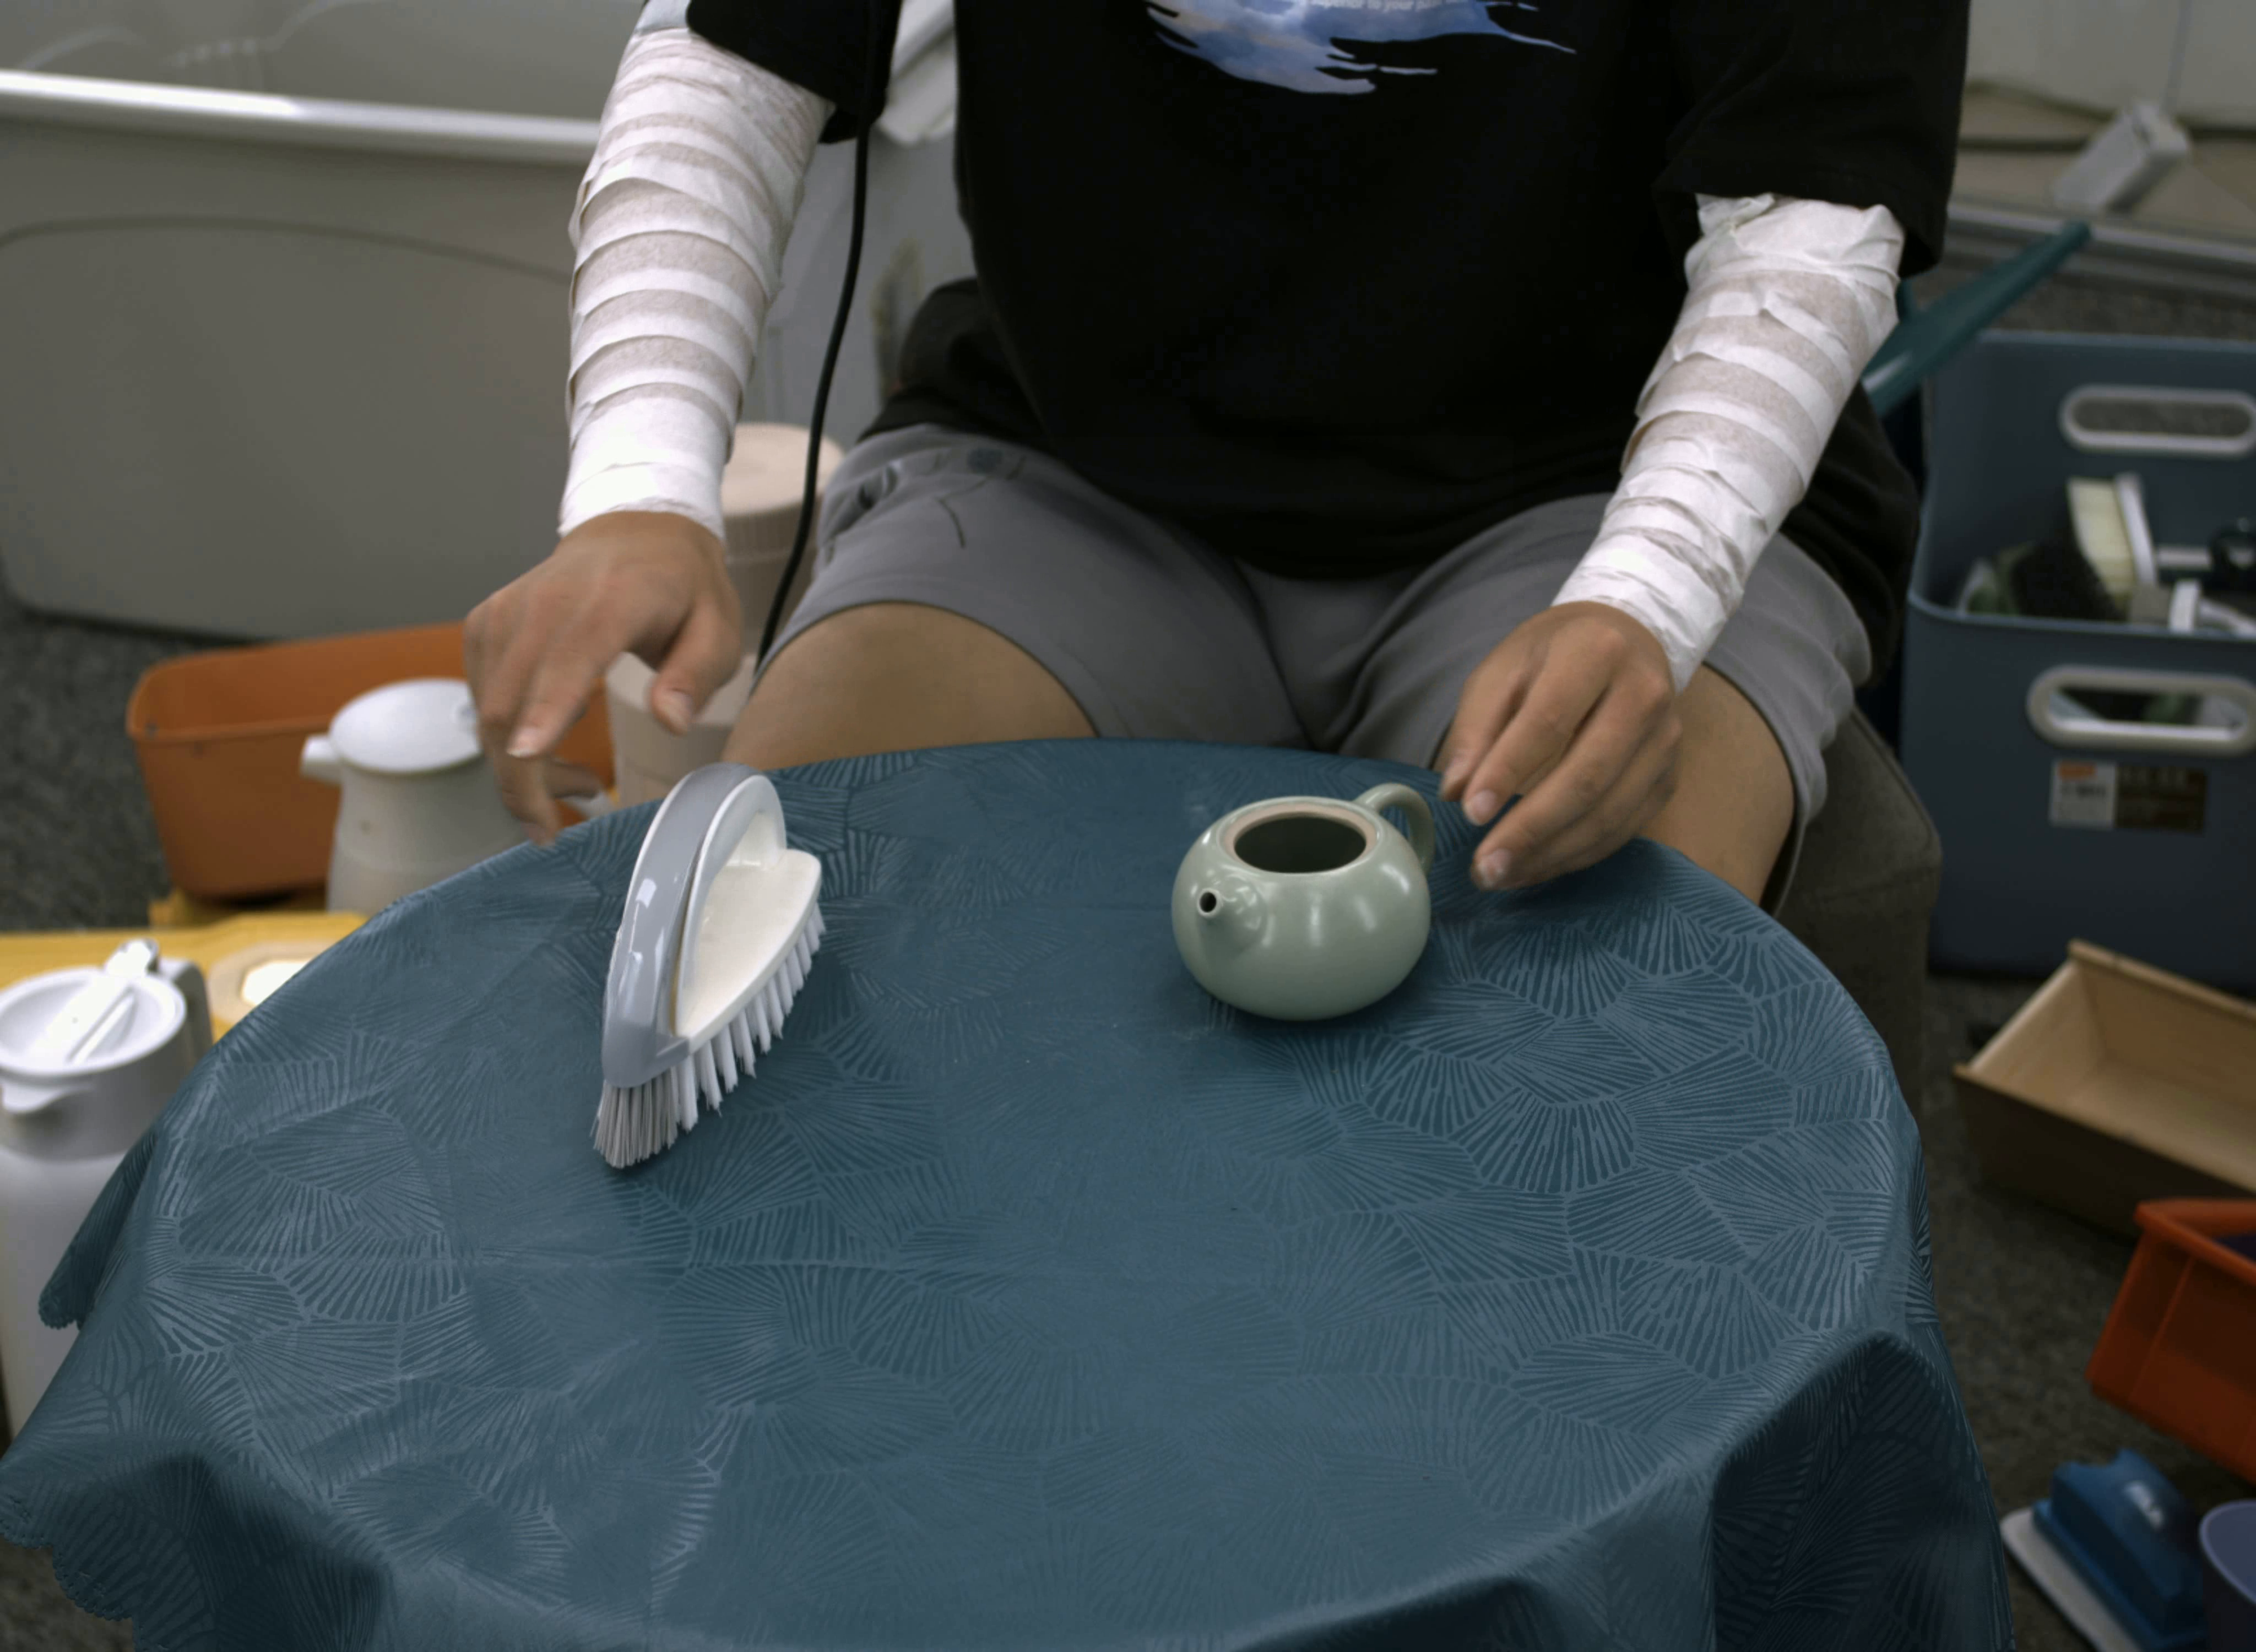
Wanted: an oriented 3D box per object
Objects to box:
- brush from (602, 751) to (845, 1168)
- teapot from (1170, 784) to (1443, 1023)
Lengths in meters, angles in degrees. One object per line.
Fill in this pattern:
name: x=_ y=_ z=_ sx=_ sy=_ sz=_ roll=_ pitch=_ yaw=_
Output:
brush: x=-0.149 y=0.038 z=1.940 sx=0.061 sy=0.093 sz=0.178 roll=1 pitch=28 yaw=15
teapot: x=0.067 y=0.027 z=1.975 sx=0.091 sy=0.060 sz=0.130 roll=19 pitch=34 yaw=40
